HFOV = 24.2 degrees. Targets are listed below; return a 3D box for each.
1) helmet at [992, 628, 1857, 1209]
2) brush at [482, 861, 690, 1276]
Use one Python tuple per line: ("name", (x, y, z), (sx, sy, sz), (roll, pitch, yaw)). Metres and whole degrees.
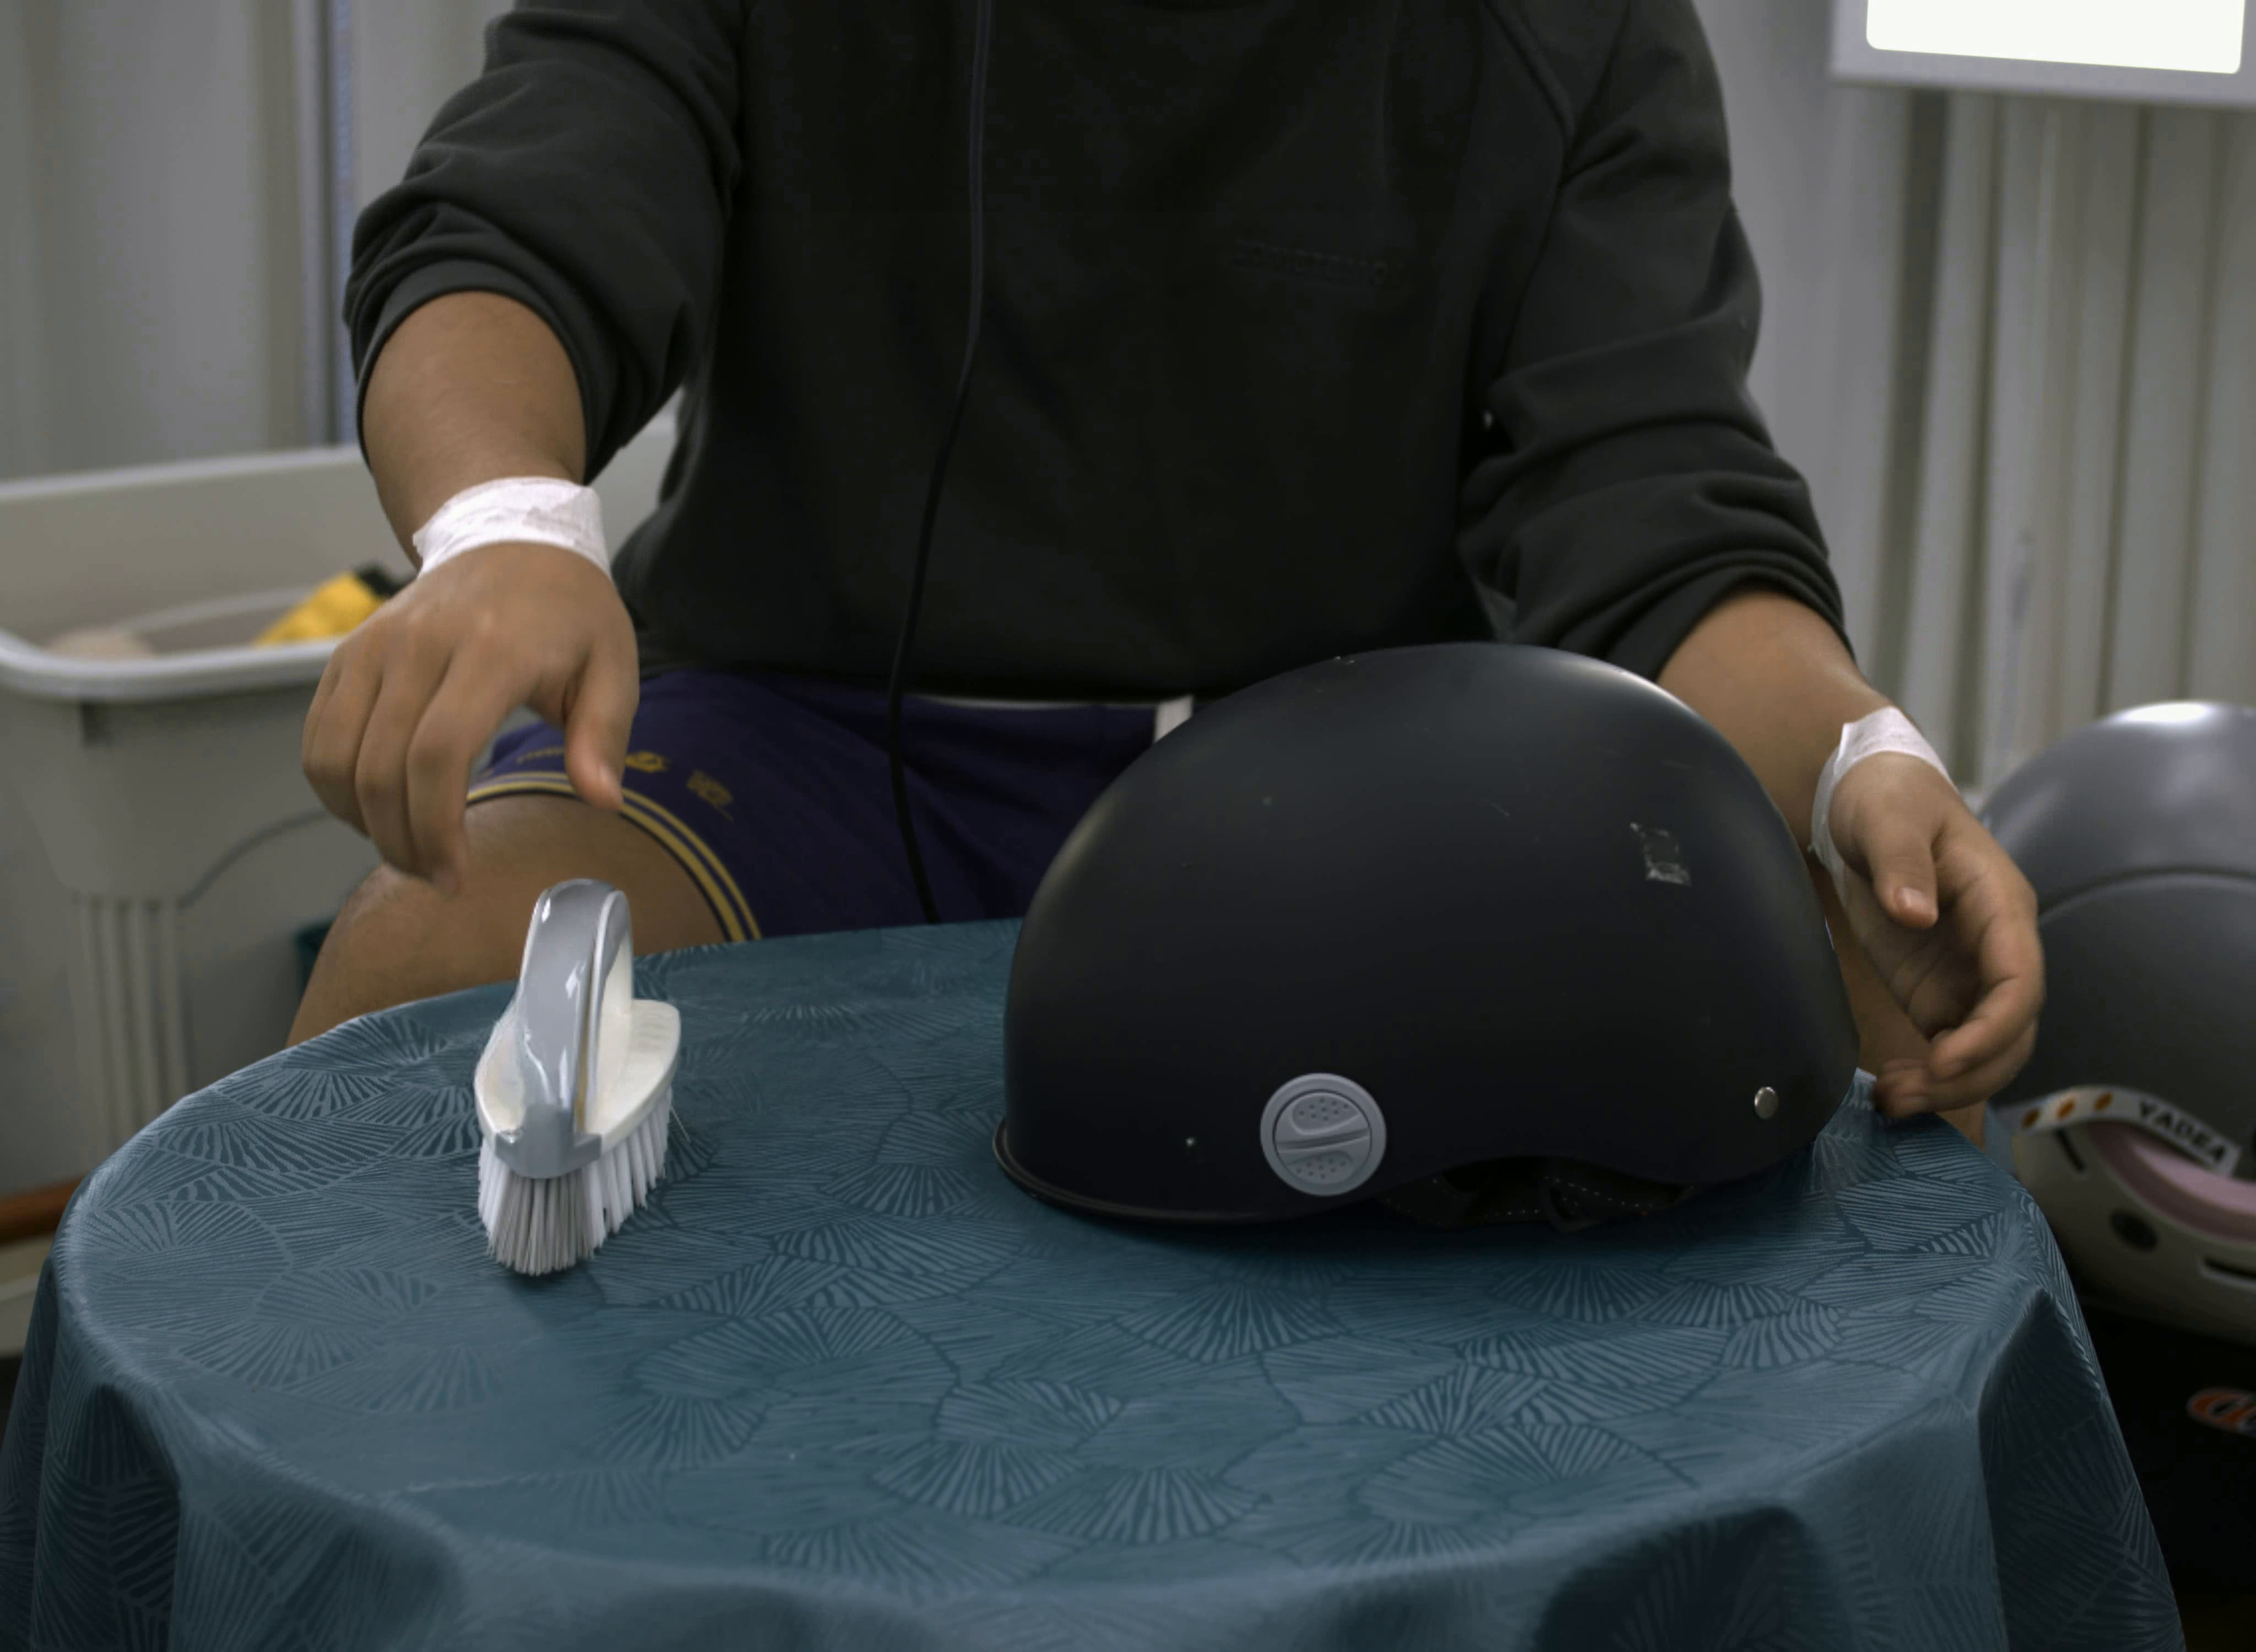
("helmet", (0.091, 0.024, 1.644), (0.272, 0.168, 0.229), (-2, 15, -1))
("brush", (-0.169, 0.068, 1.605), (0.061, 0.095, 0.174), (-2, 18, 1))
